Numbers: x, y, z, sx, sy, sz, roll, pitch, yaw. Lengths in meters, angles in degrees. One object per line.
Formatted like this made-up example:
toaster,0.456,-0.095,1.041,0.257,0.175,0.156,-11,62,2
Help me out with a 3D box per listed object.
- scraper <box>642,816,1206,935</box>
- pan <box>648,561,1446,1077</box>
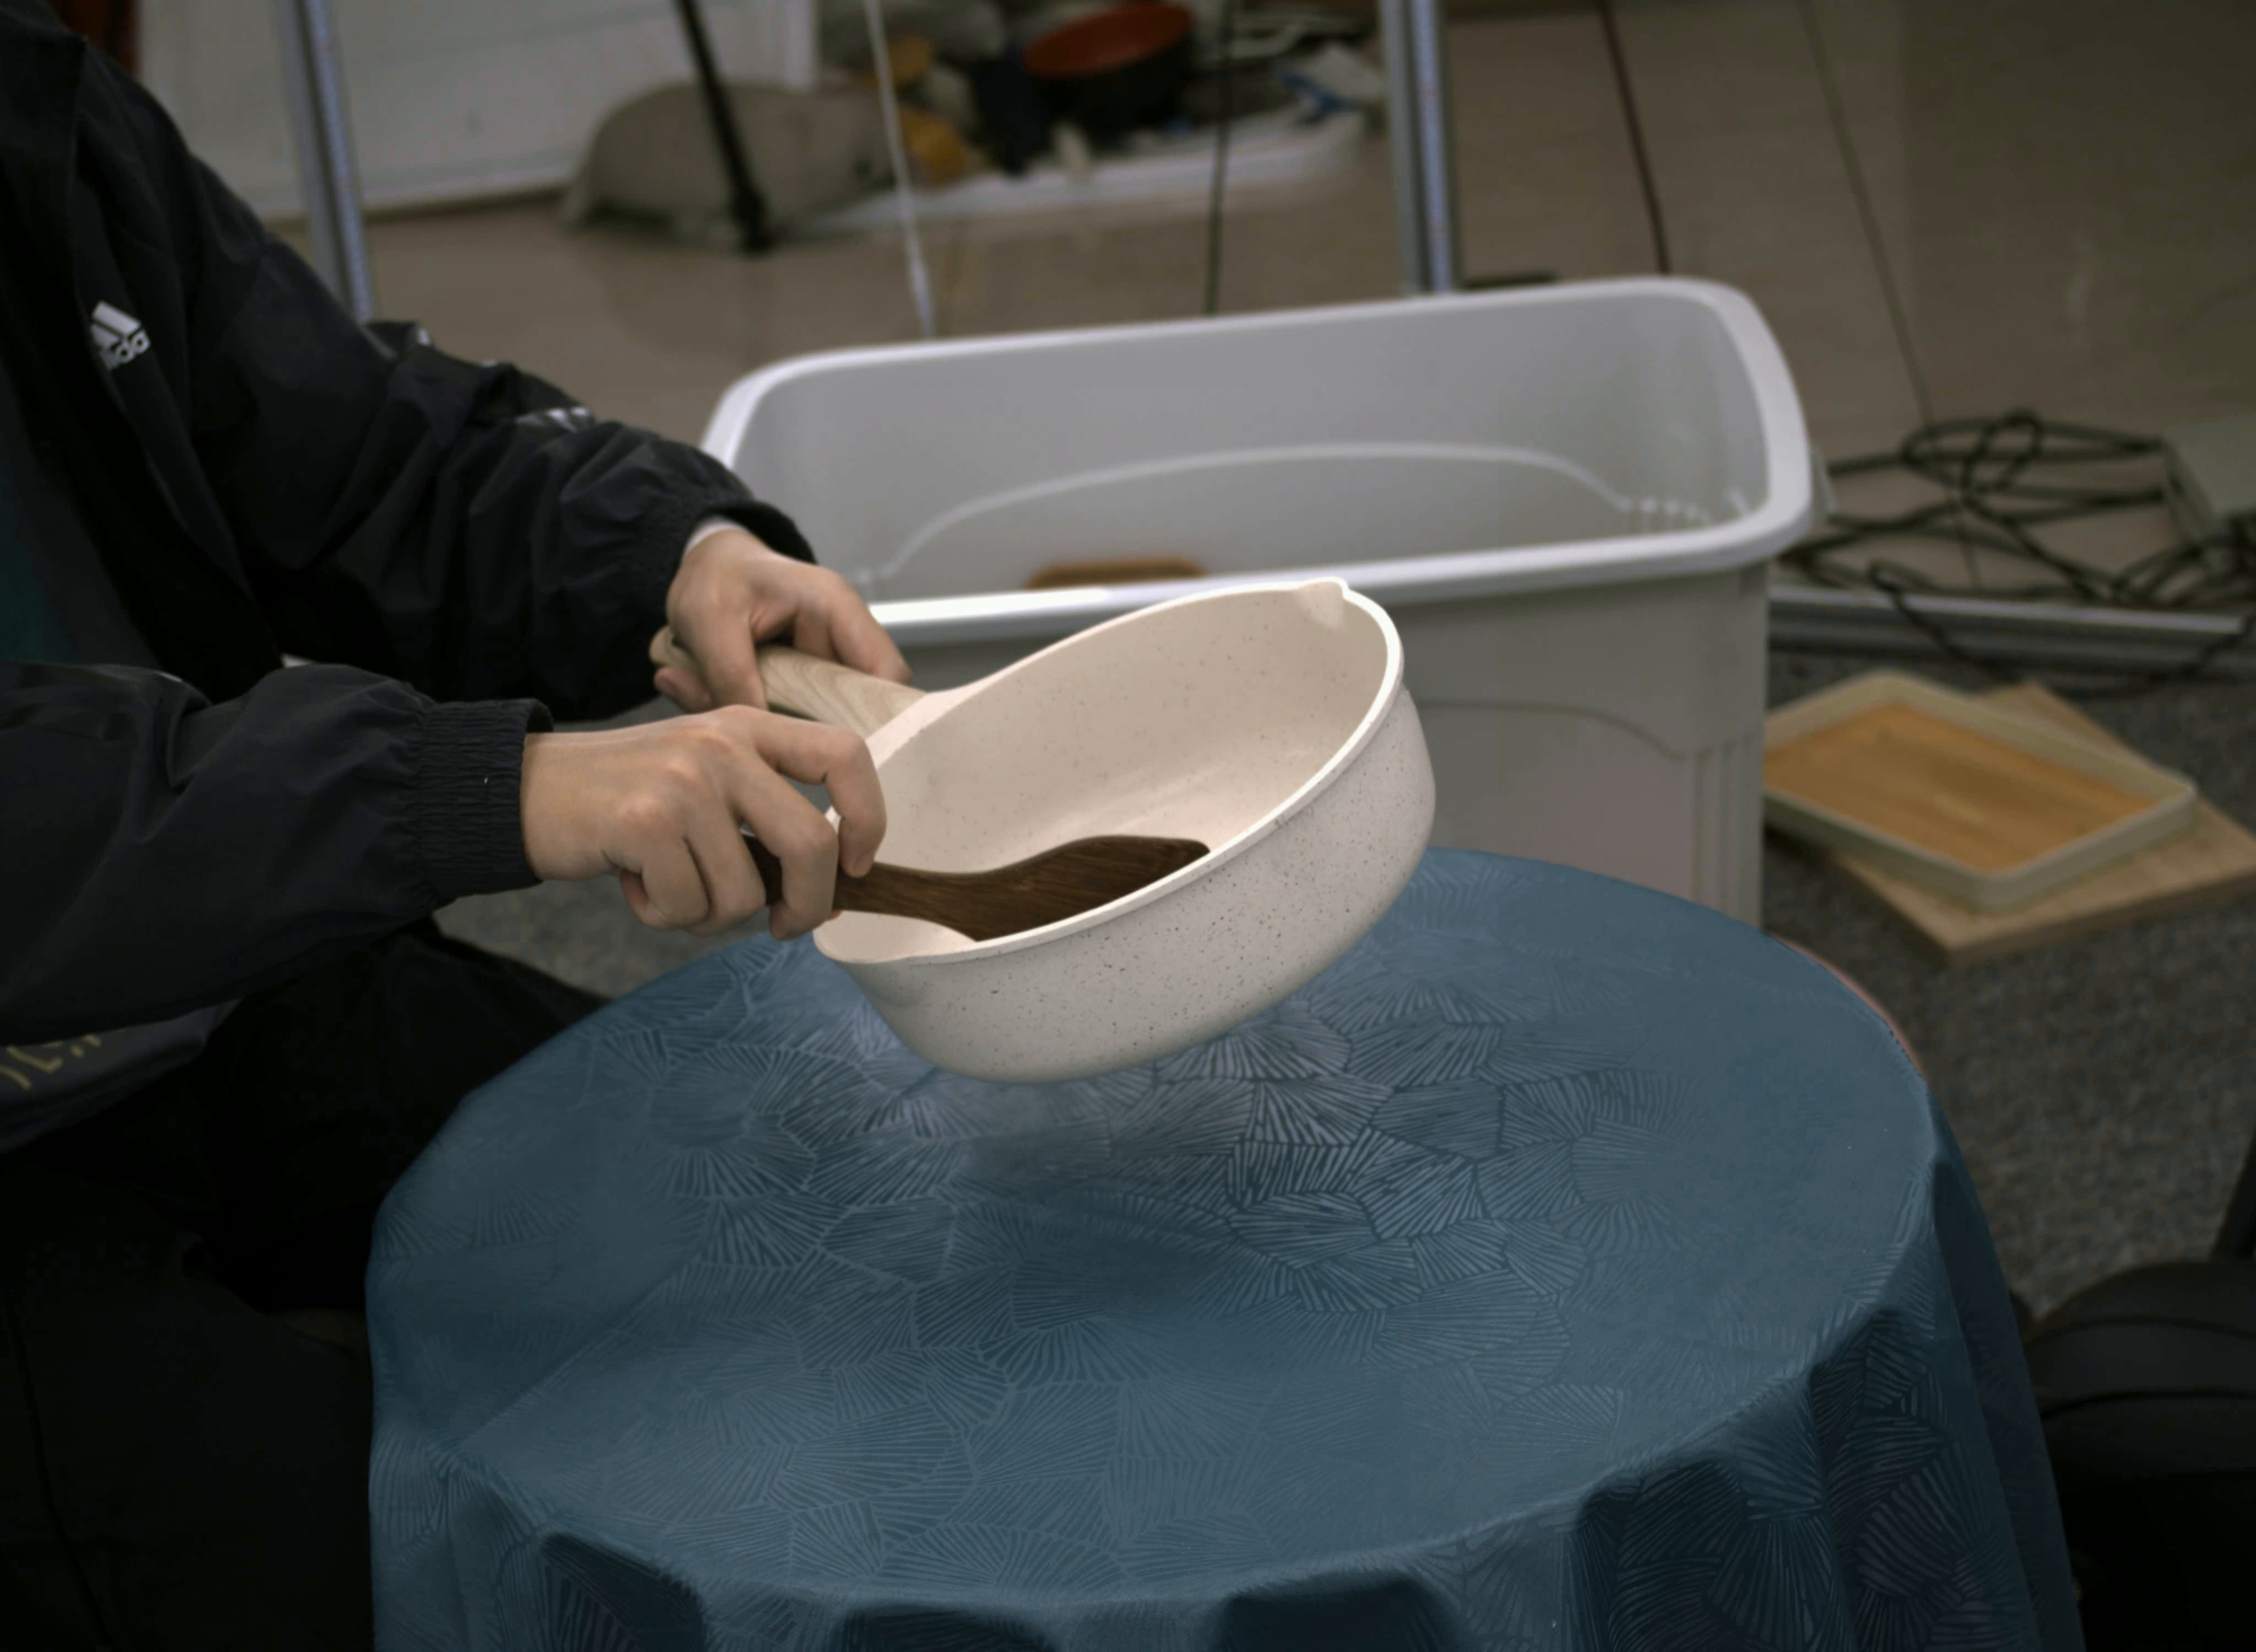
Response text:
scraper,-0.074,0.023,2.086,0.211,0.077,0.010,8,23,-12
pan,-0.049,-0.013,2.235,0.261,0.103,0.432,-40,27,-24
